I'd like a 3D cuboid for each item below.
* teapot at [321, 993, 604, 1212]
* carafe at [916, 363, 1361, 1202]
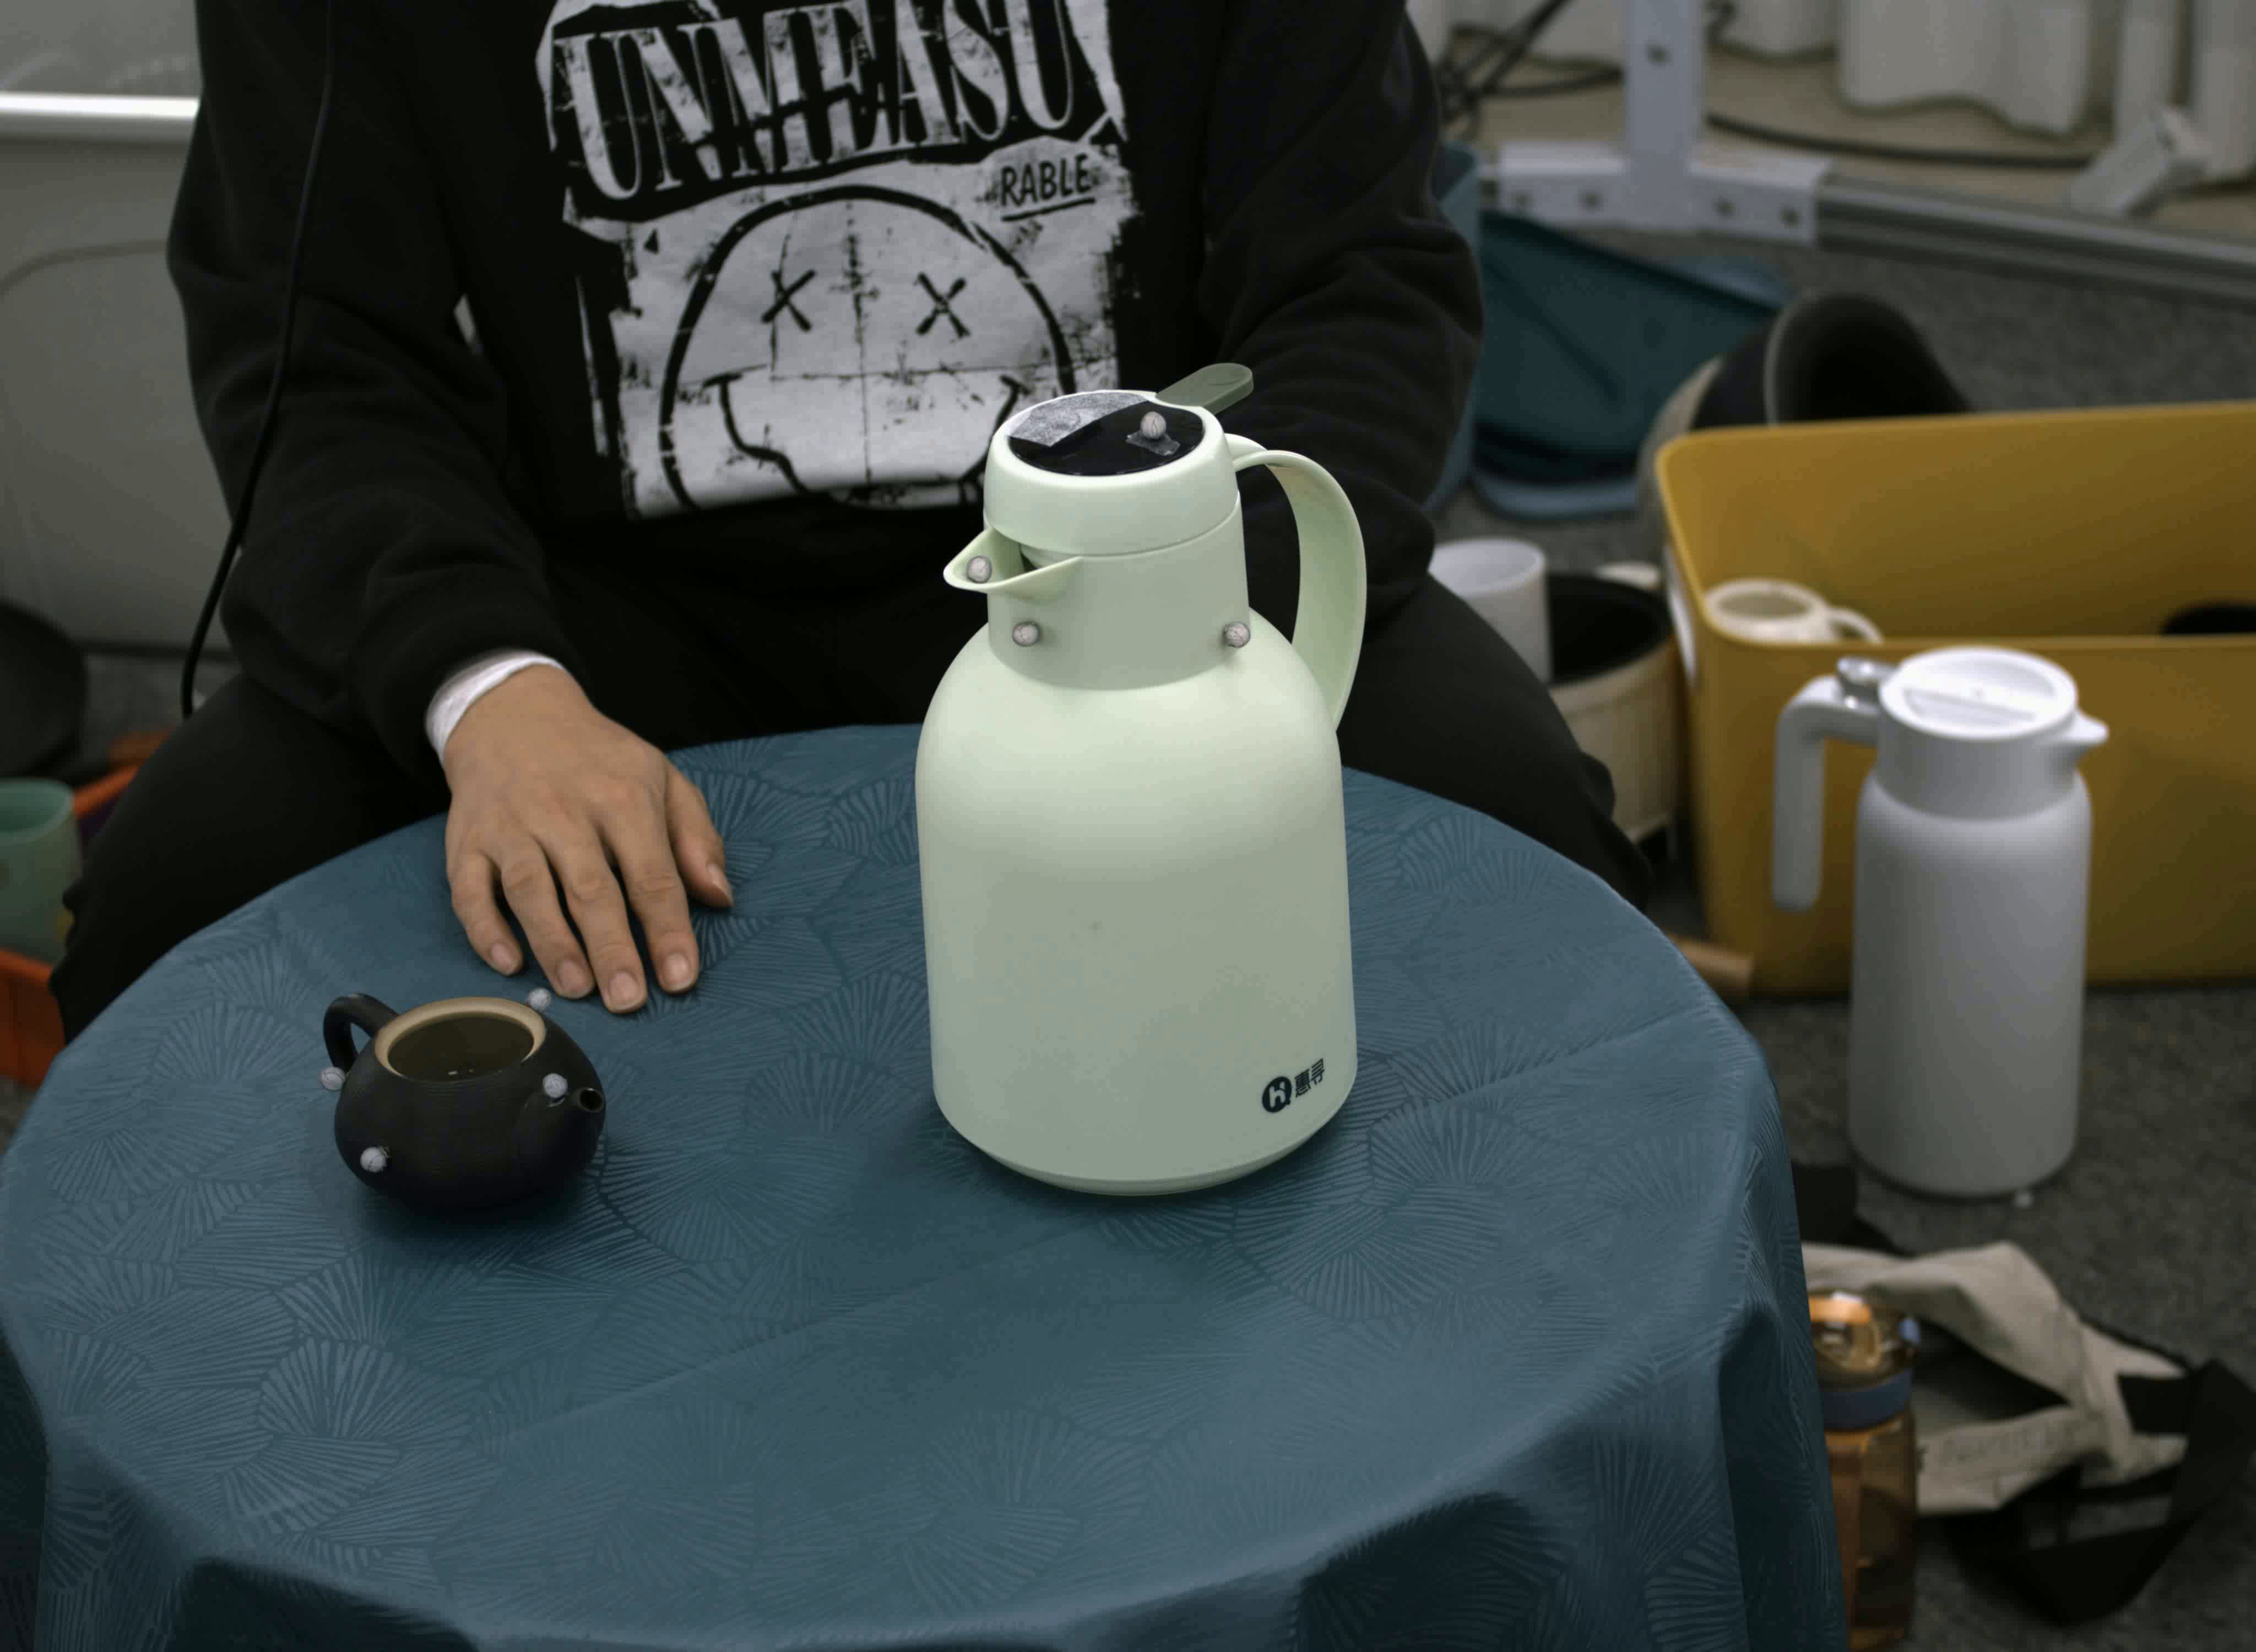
[{"bbox_3d":[-0.222,0.094,1.876,0.133,0.052,0.092,19,32,36],"label":"teapot"},{"bbox_3d":[0.010,-0.020,1.863,0.143,0.254,0.189,16,29,37],"label":"carafe"}]
